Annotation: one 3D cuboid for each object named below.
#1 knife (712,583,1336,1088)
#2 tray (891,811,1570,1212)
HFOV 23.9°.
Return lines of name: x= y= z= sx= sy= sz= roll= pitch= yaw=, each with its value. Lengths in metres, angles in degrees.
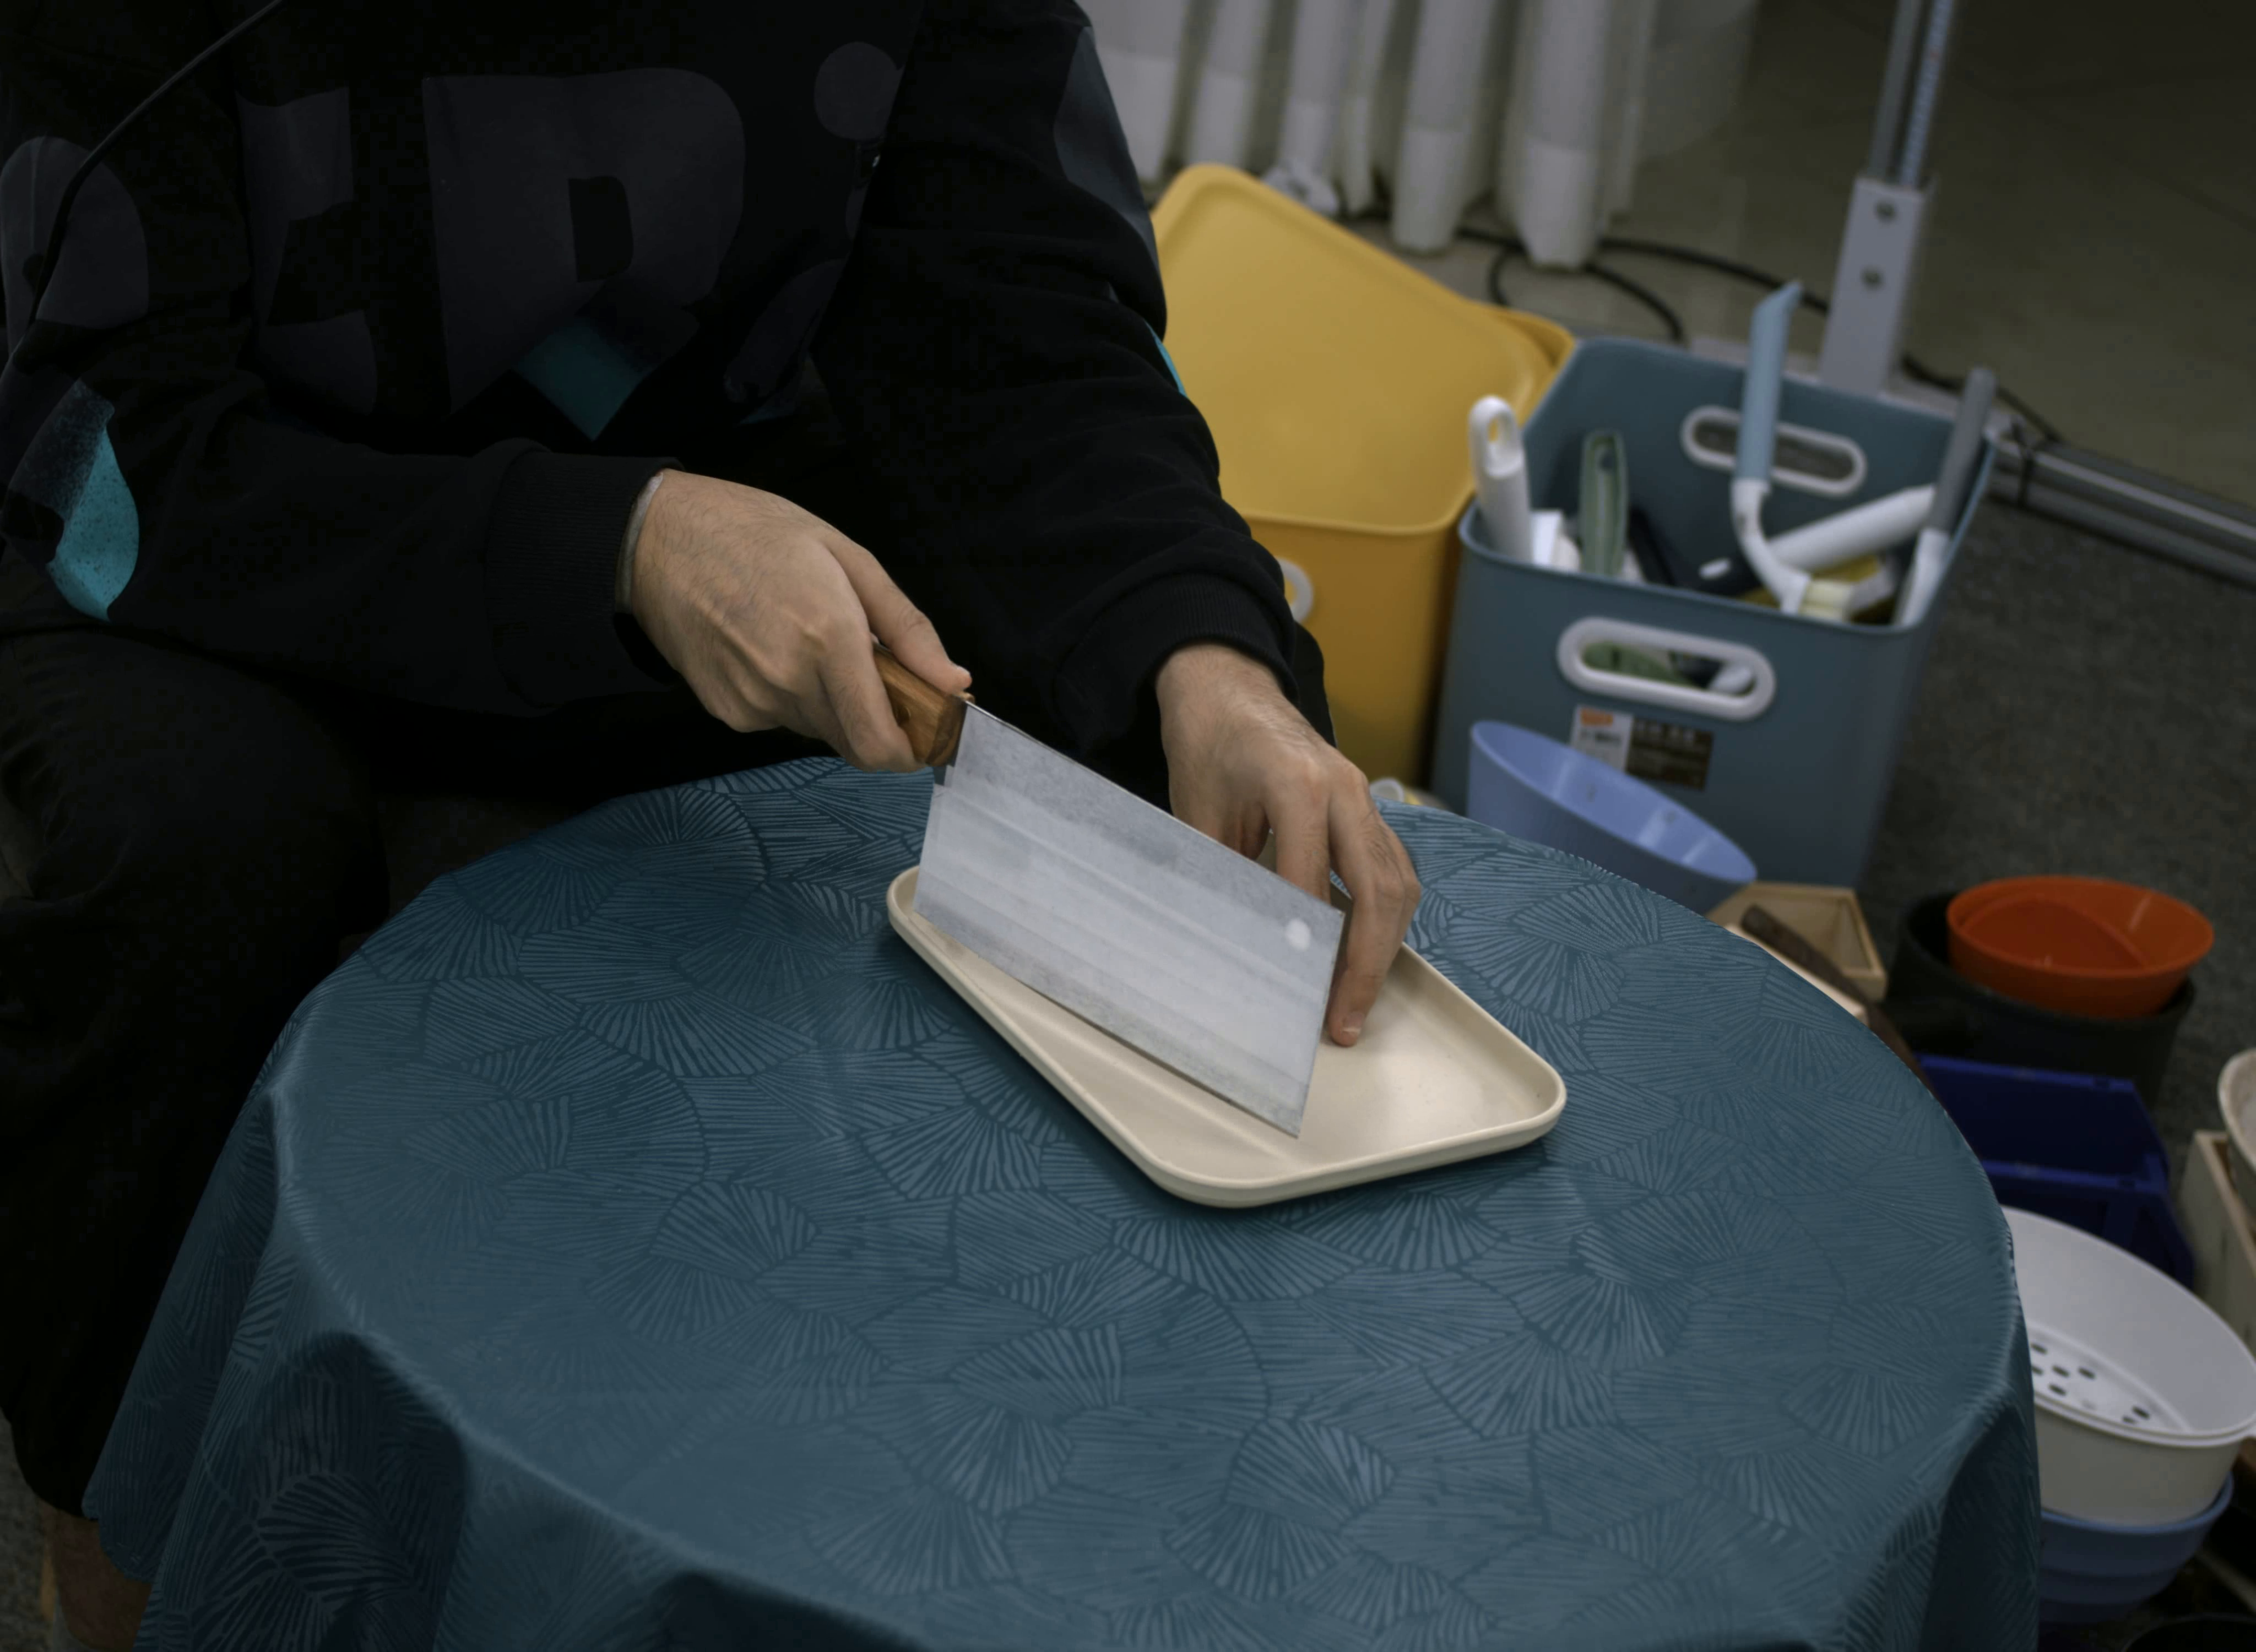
knife: x=-0.044 y=0.005 z=1.886 sx=0.308 sy=0.092 sz=0.021 roll=29 pitch=31 yaw=35
tray: x=0.033 y=0.065 z=1.903 sx=0.170 sy=0.017 sz=0.242 roll=-11 pitch=32 yaw=-28
